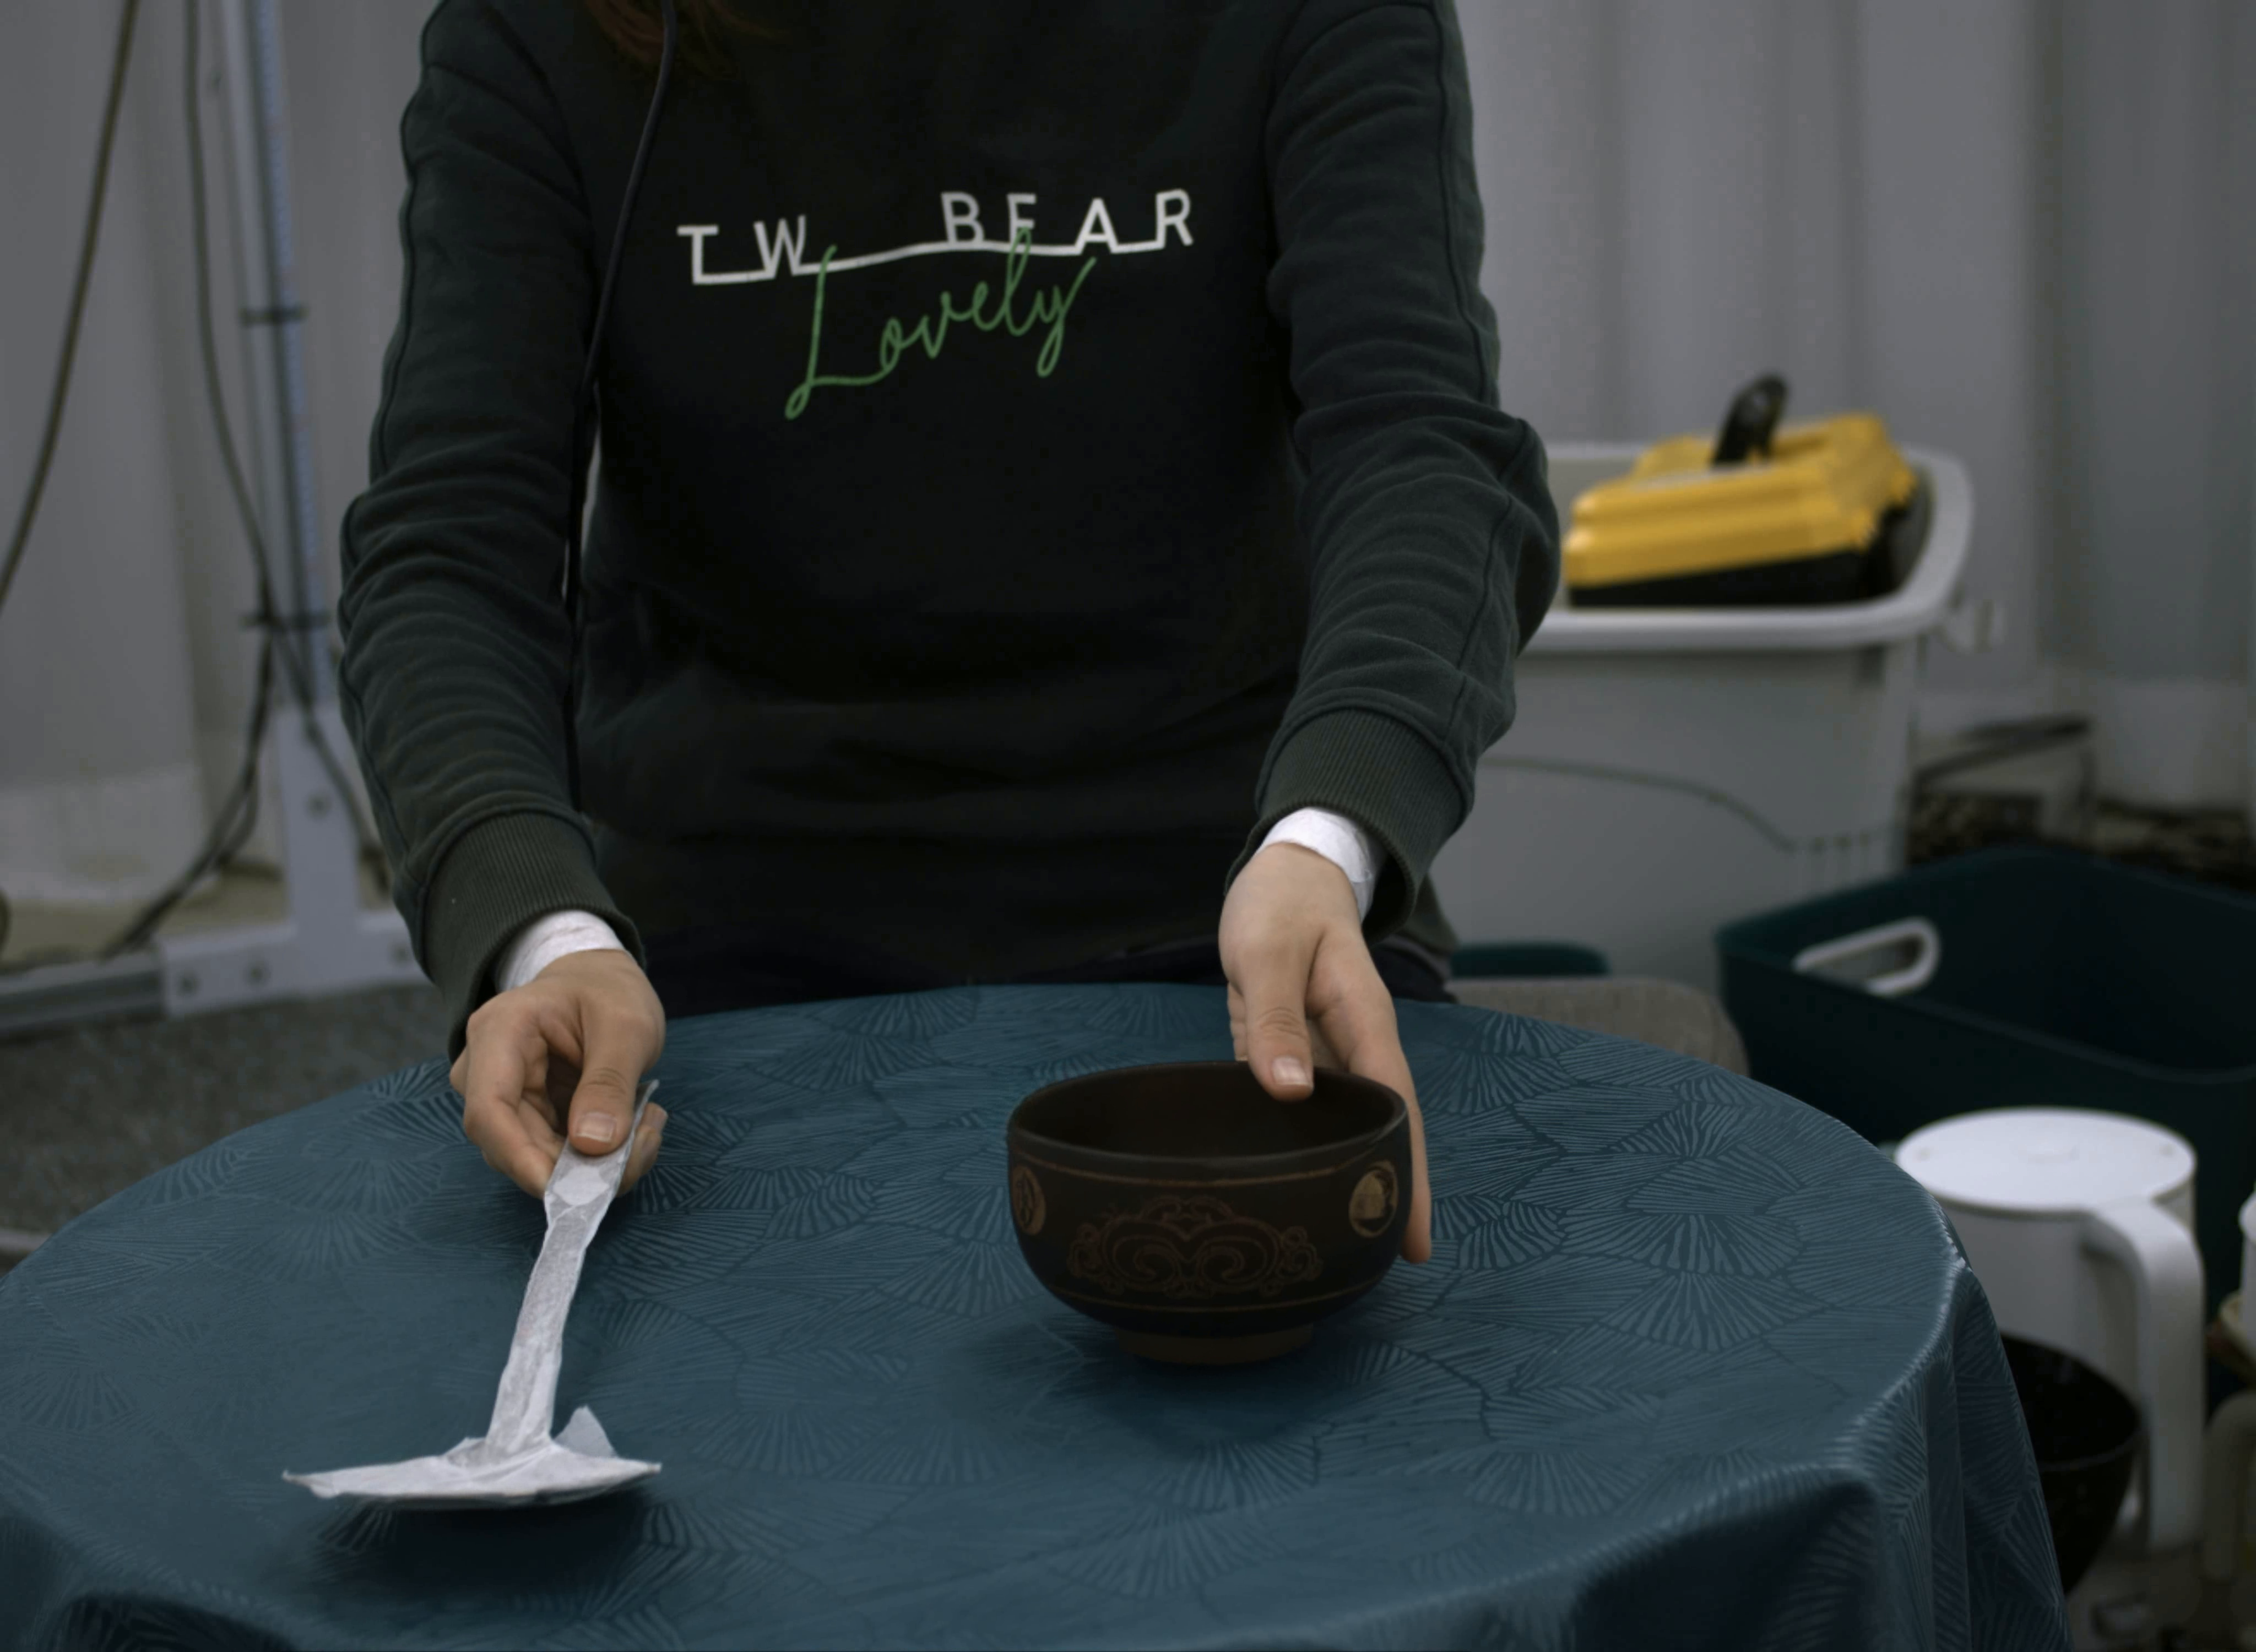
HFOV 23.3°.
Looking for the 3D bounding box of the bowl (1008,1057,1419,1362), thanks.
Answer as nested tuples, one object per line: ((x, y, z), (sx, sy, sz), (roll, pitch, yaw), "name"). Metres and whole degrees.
((0.024, 0.113, 1.569), (0.117, 0.070, 0.118), (0, 10, 0), "bowl")

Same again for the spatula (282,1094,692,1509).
((-0.163, 0.130, 1.585), (0.098, 0.044, 0.368), (-3, 19, 4), "spatula")
